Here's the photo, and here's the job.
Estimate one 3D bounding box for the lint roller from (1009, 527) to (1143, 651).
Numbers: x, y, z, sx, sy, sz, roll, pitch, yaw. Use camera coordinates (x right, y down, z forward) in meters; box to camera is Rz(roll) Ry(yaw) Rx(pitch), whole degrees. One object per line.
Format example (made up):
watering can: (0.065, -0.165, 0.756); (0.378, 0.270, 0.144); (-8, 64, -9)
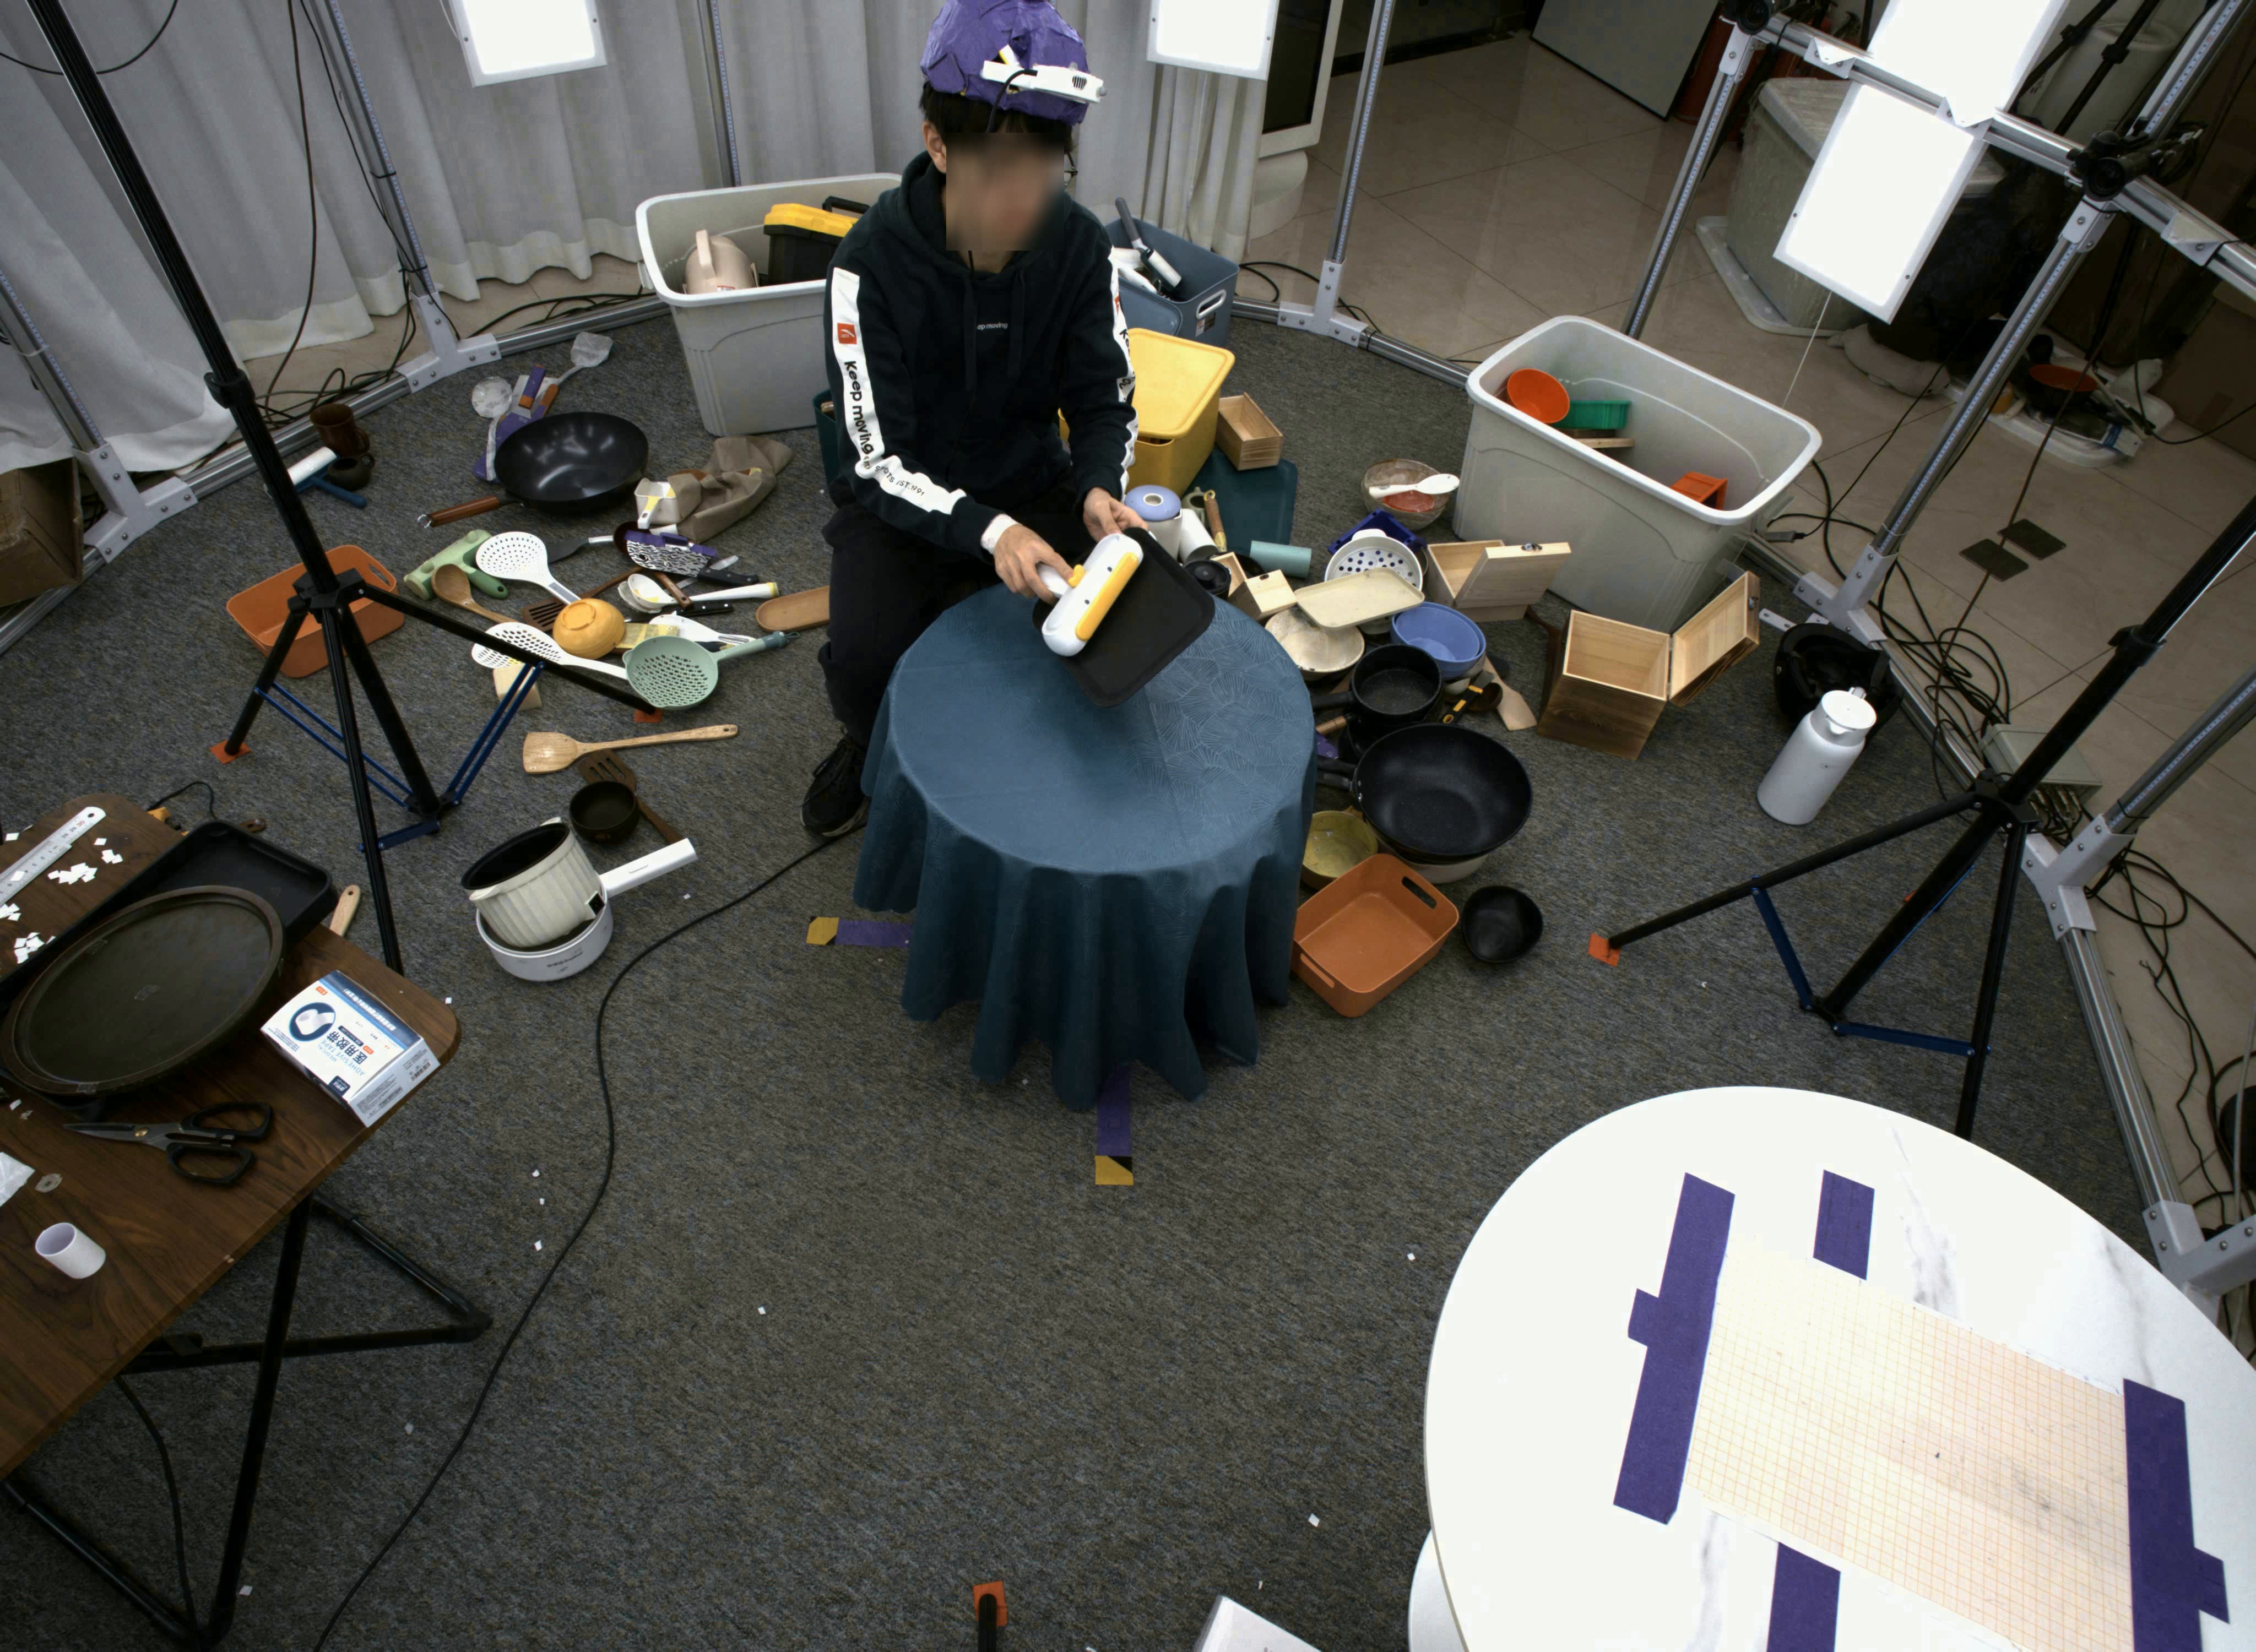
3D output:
lint roller: (-0.090, -0.342, 1.815); (0.194, 0.073, 0.194); (13, 72, 46)

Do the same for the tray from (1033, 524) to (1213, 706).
tray: (-0.019, -0.301, 1.774); (0.210, 0.009, 0.333); (-41, 43, 6)
